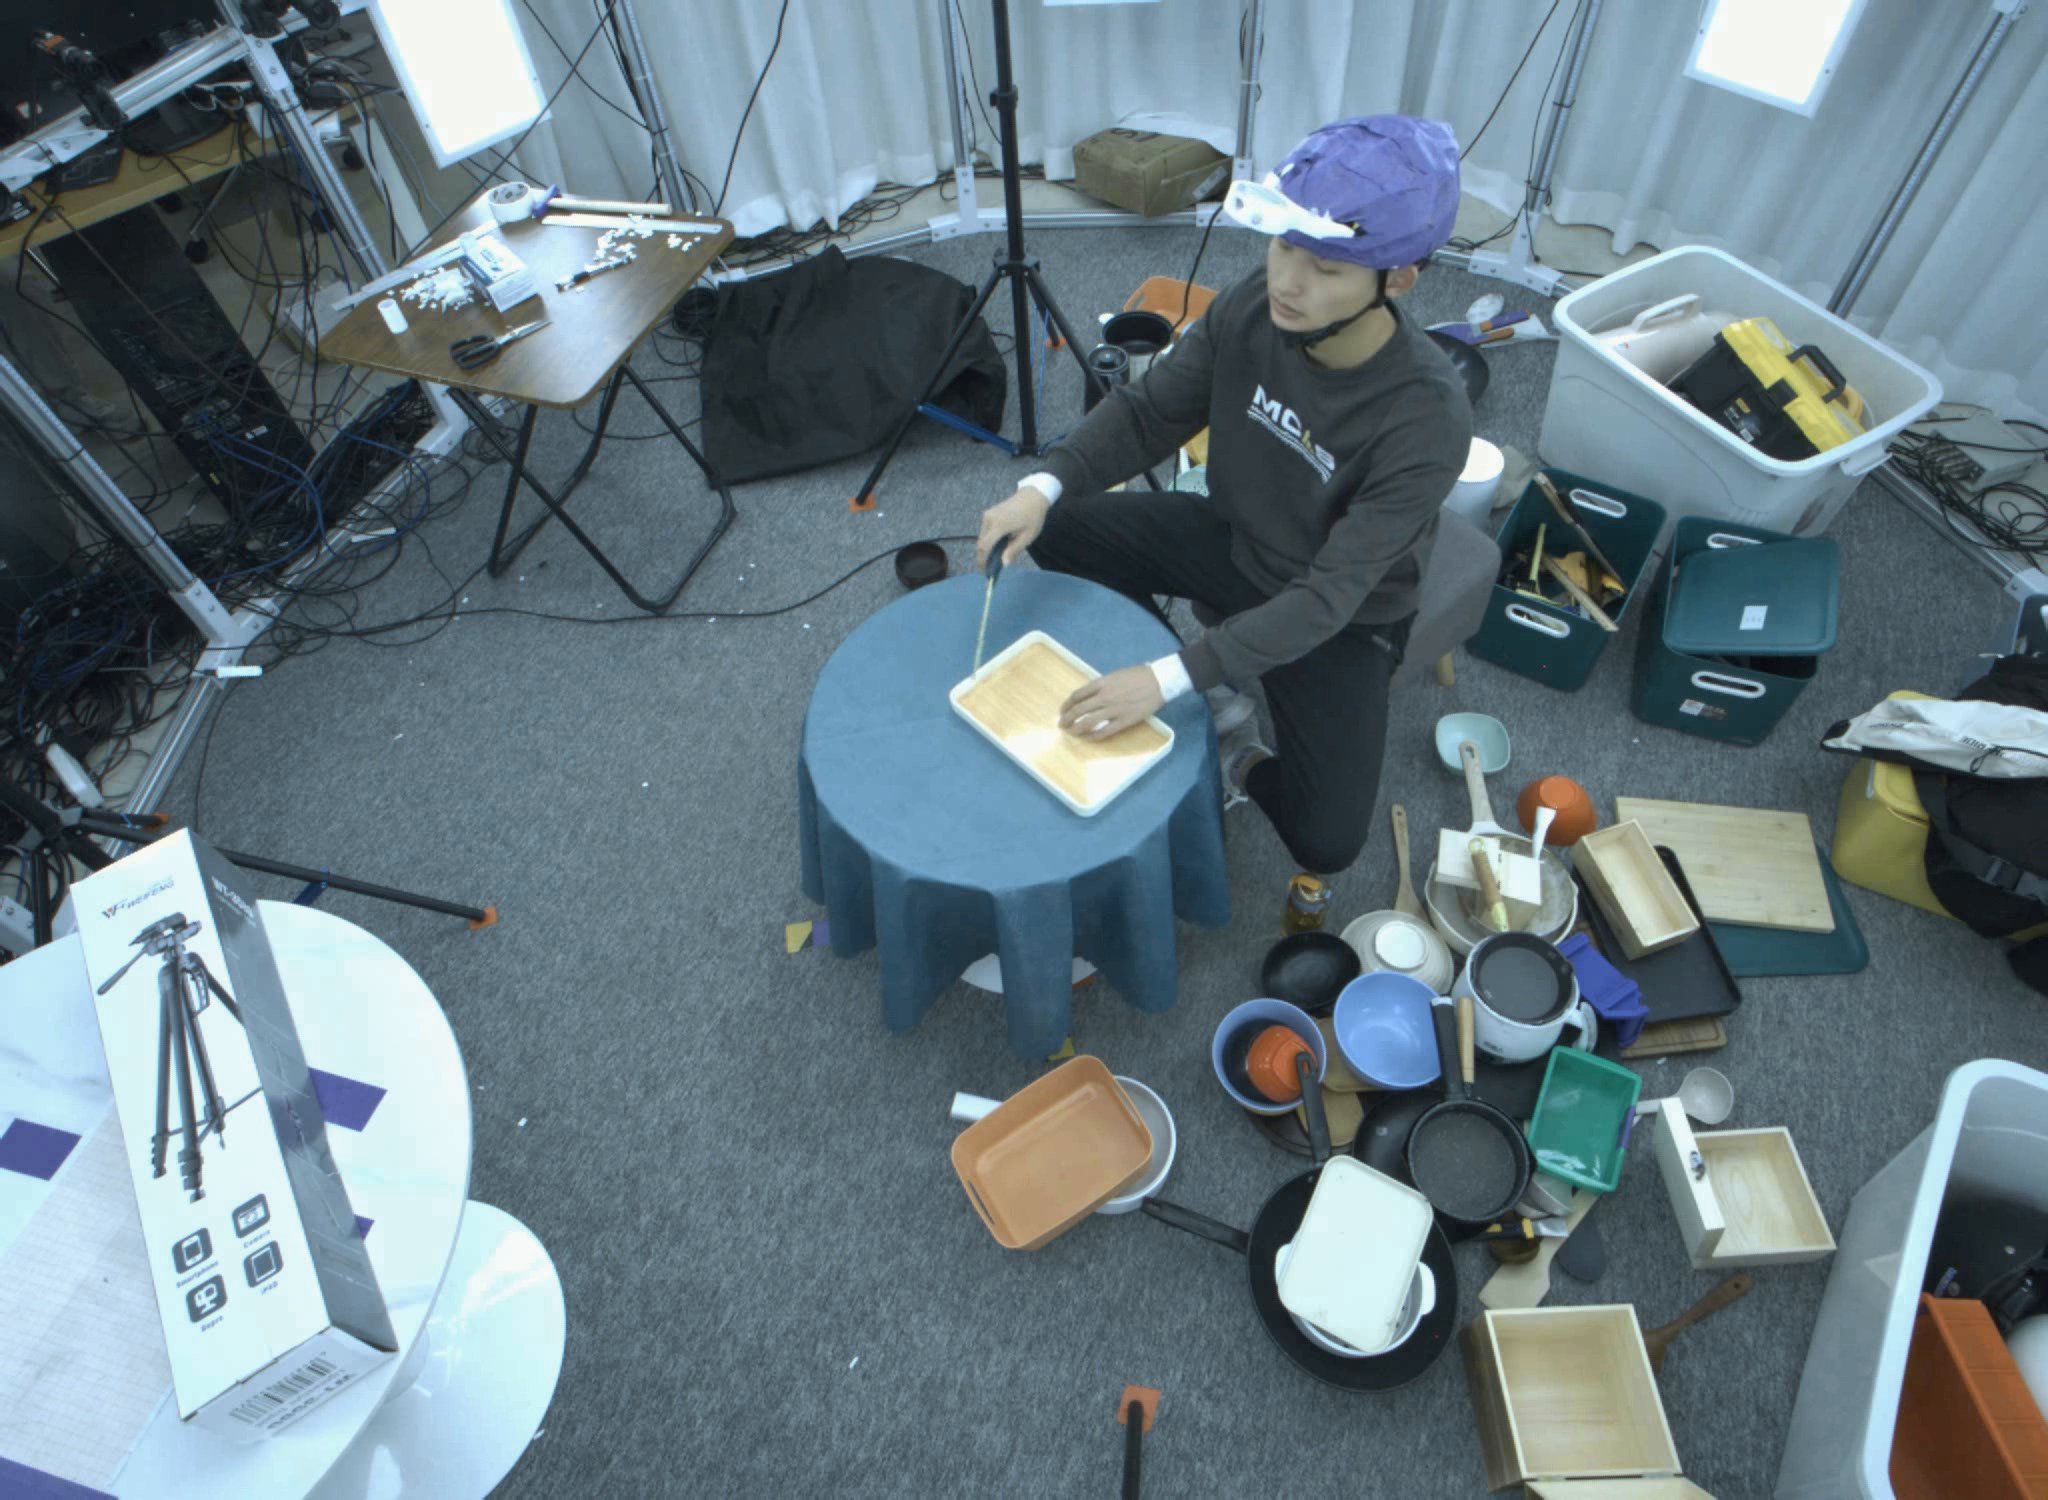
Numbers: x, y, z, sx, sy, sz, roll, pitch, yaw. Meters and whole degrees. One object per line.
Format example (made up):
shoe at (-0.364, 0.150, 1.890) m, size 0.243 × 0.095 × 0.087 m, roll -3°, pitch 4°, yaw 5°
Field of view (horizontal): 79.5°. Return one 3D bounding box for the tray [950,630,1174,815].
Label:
tray at (0.053, -0.046, 1.811) m, size 0.193 × 0.027 × 0.295 m, roll -38°, pitch 62°, yaw -24°

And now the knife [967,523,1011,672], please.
knife at (-0.056, -0.227, 1.817) m, size 0.027 × 0.081 × 0.287 m, roll 14°, pitch 55°, yaw -3°
